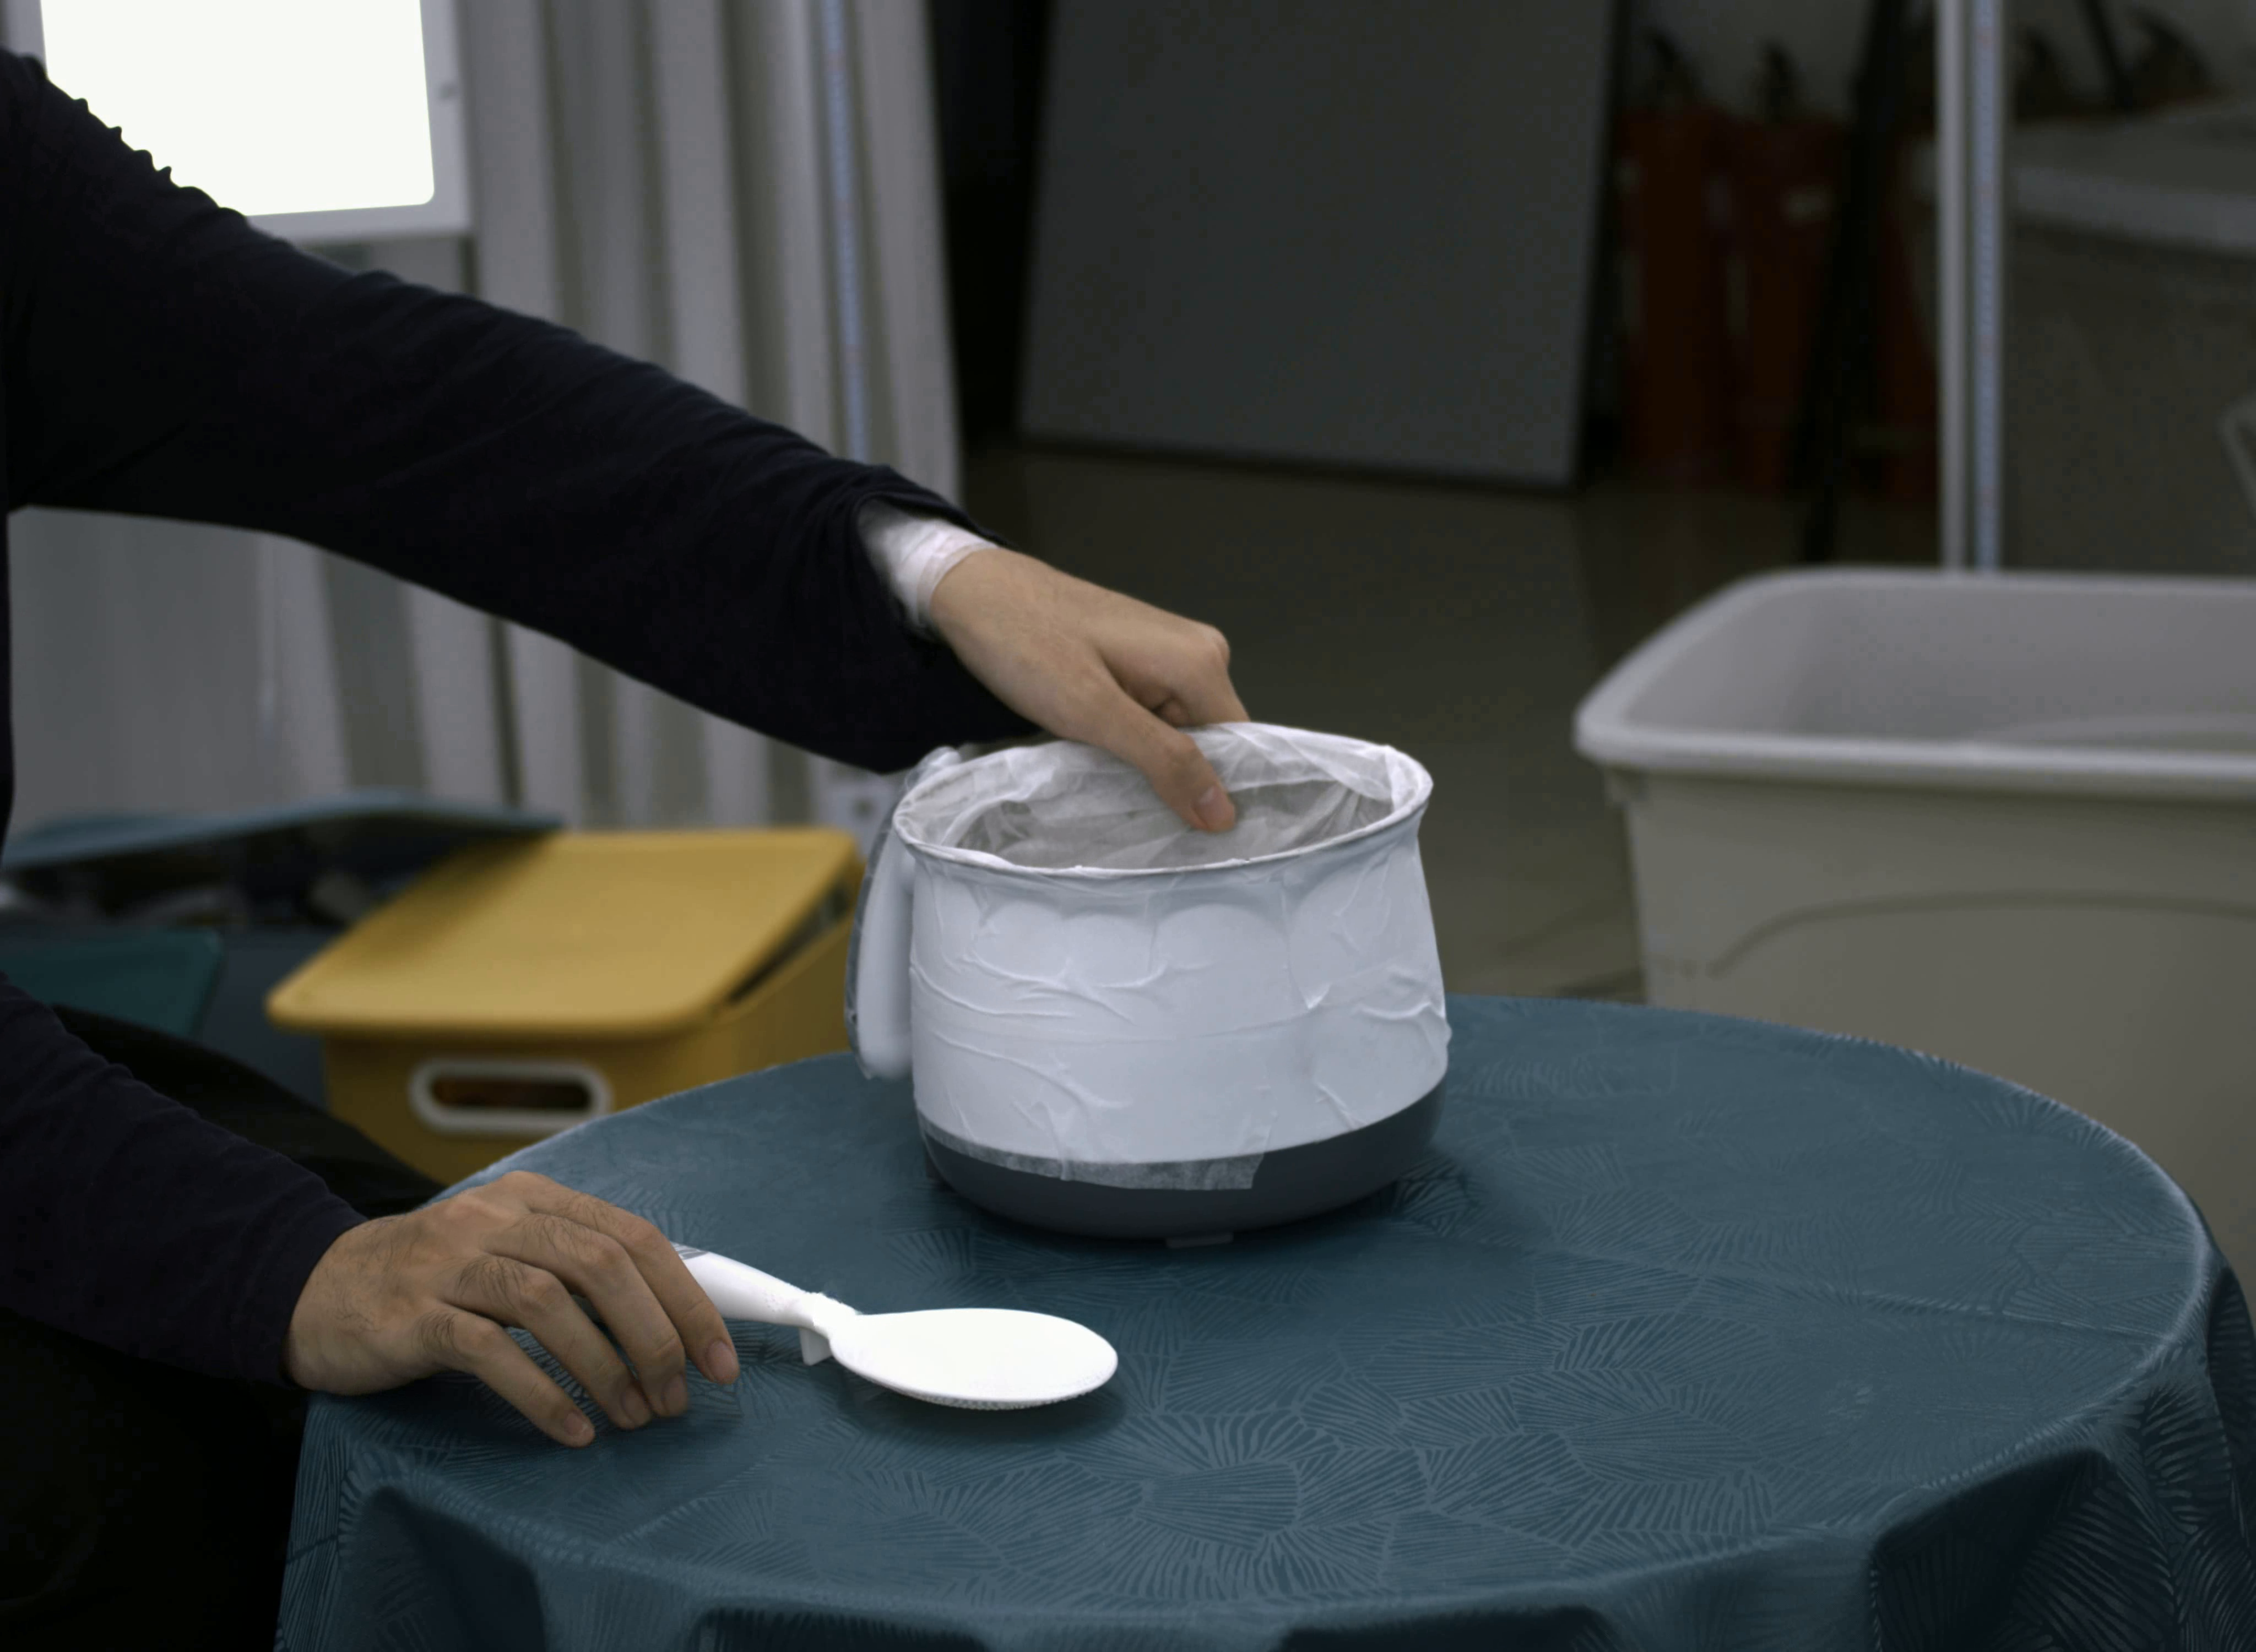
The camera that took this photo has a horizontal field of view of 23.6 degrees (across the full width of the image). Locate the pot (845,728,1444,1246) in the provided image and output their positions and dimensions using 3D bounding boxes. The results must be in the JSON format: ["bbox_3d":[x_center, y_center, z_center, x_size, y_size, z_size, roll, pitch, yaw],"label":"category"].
[{"bbox_3d":[-0.005,0.047,1.780,0.235,0.138,0.175,10,17,40],"label":"pot"}]

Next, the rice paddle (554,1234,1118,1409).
[{"bbox_3d":[-0.088,0.150,1.623,0.207,0.030,0.067,6,18,39],"label":"rice paddle"}]
